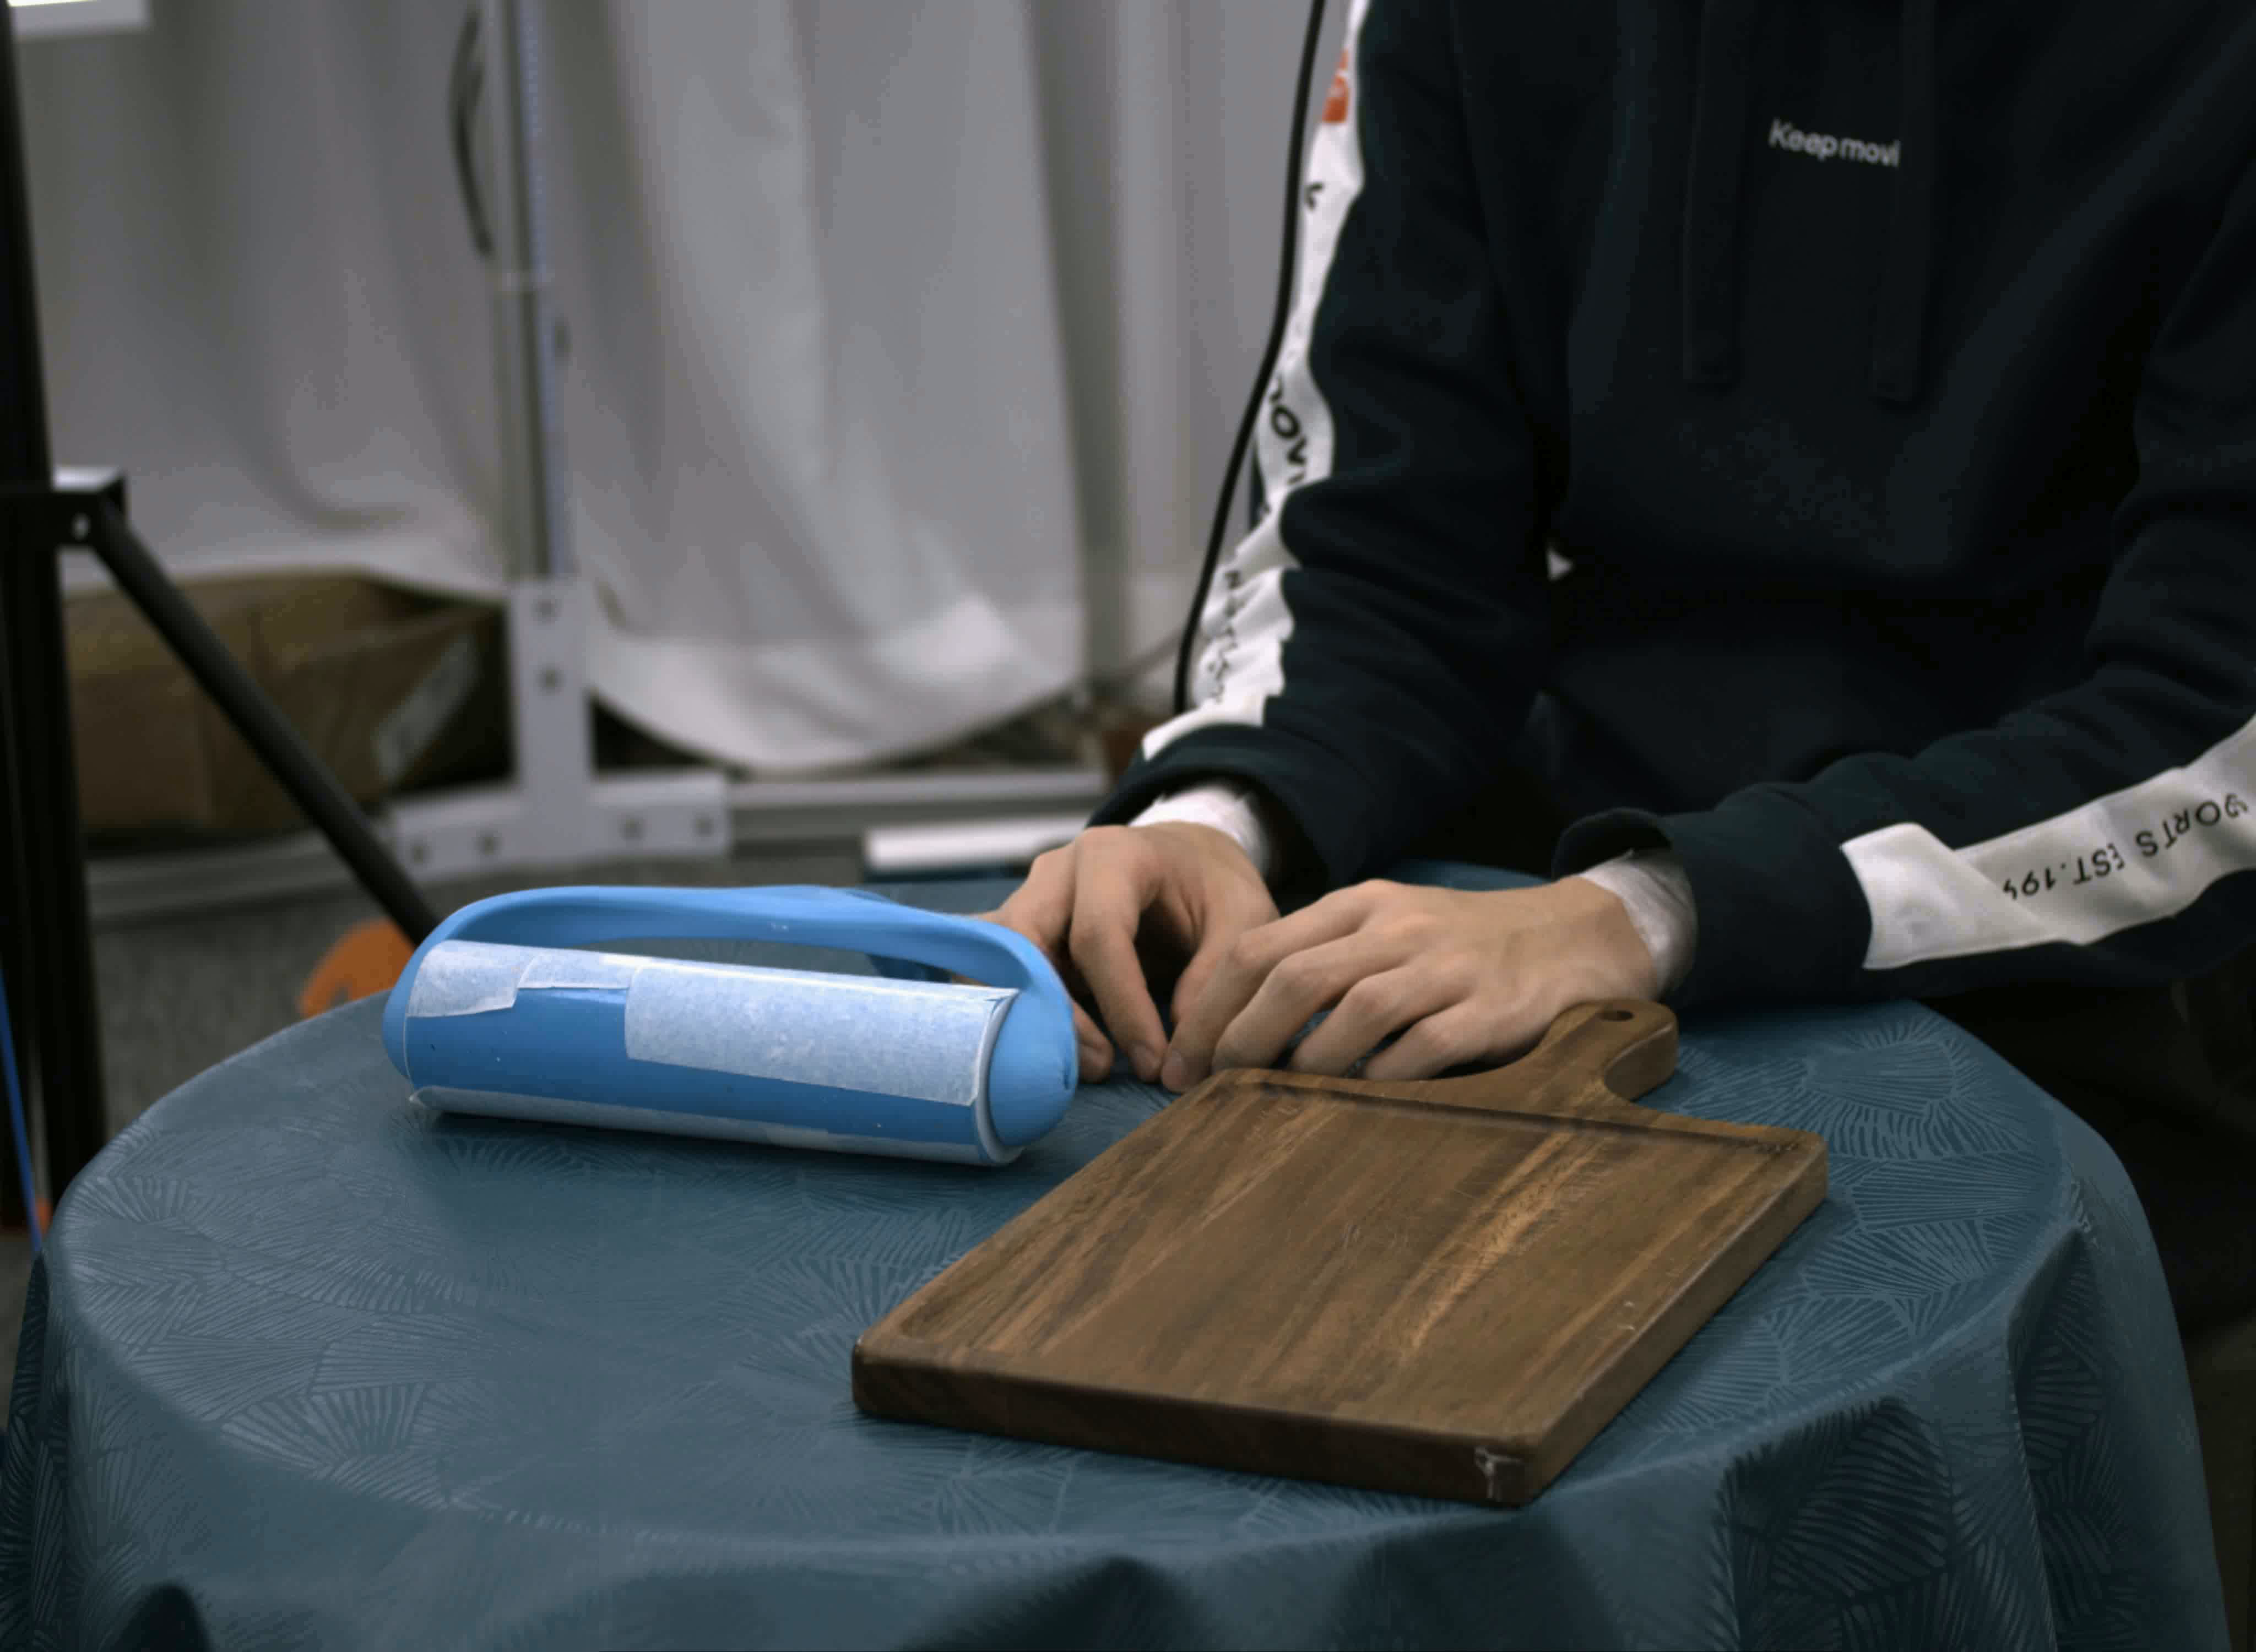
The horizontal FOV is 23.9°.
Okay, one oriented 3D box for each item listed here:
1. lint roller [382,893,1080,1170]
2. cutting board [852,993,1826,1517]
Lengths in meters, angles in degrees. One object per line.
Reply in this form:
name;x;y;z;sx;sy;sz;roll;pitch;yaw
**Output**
lint roller;-0.104;0.052;1.670;0.231;0.068;0.178;2;17;21
cutting board;0.084;0.109;1.500;0.204;0.023;0.347;5;18;25
